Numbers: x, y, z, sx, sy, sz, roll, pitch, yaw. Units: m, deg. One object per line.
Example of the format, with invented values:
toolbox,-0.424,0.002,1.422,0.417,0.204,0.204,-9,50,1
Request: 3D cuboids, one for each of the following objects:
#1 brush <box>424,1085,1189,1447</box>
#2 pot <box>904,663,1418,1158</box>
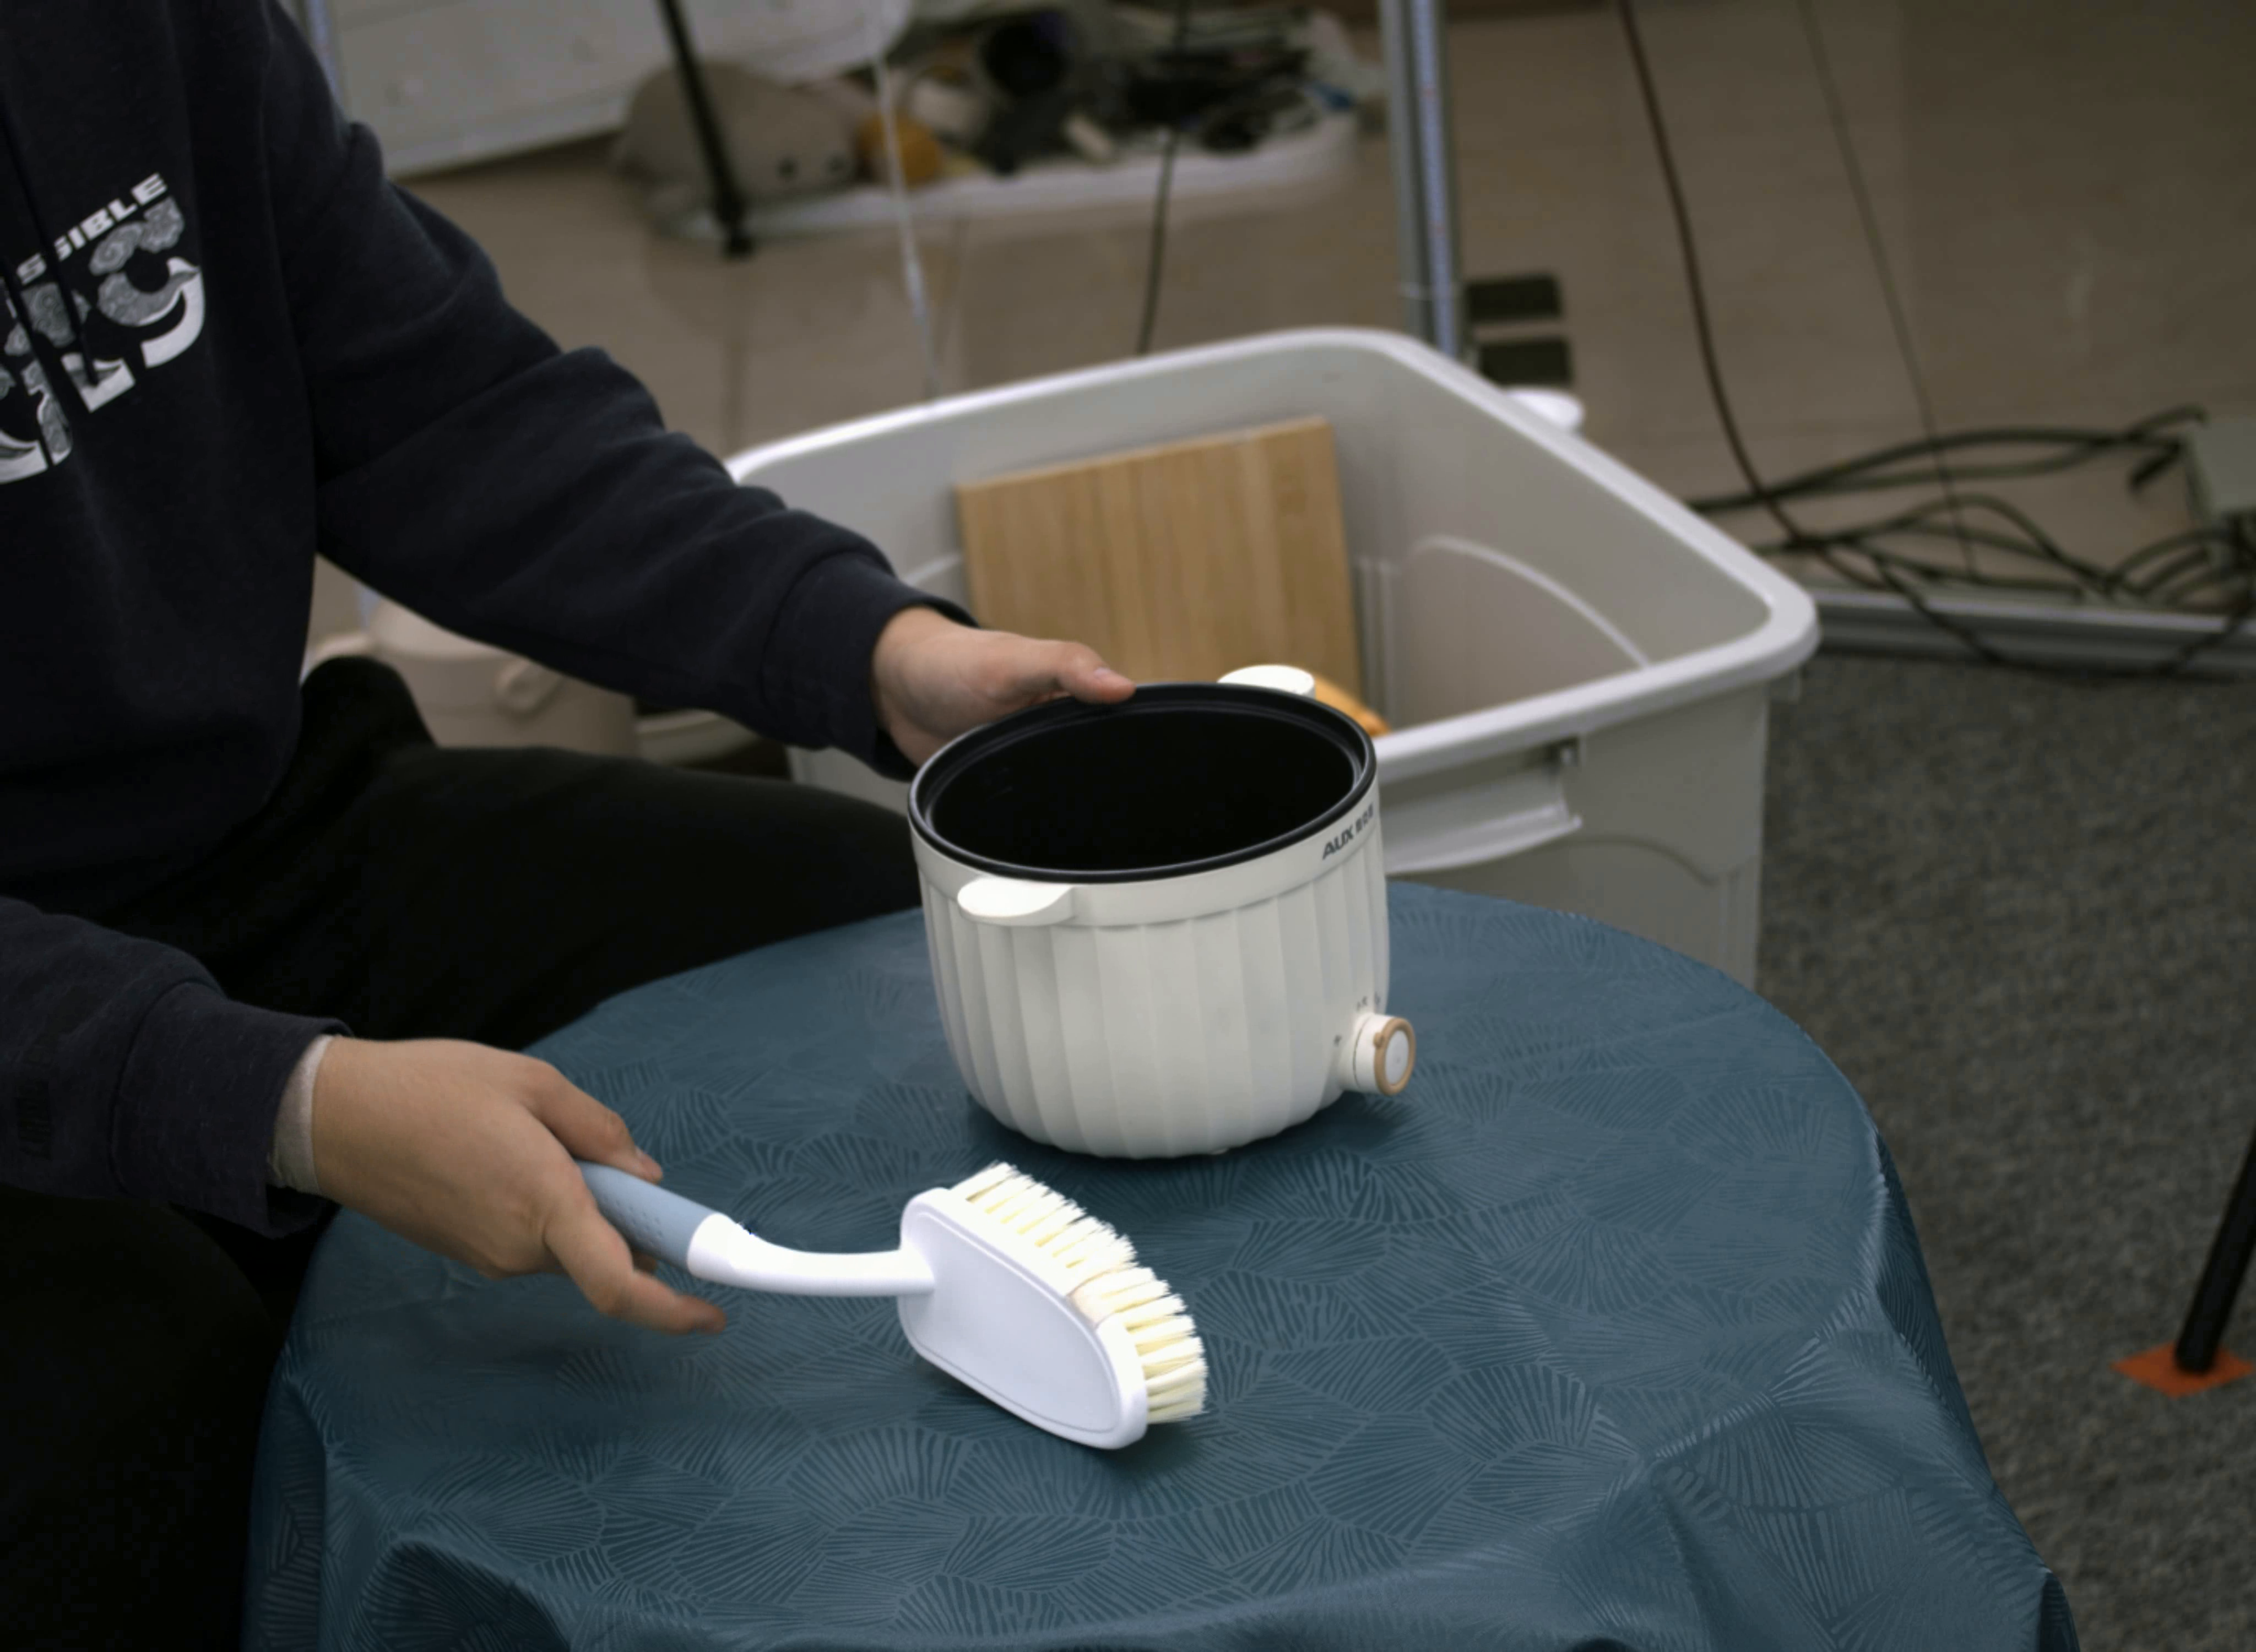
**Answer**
brush,-0.111,0.139,2.041,0.323,0.083,0.085,21,-5,27
pot,0.017,0.040,2.191,0.190,0.145,0.237,5,28,30
